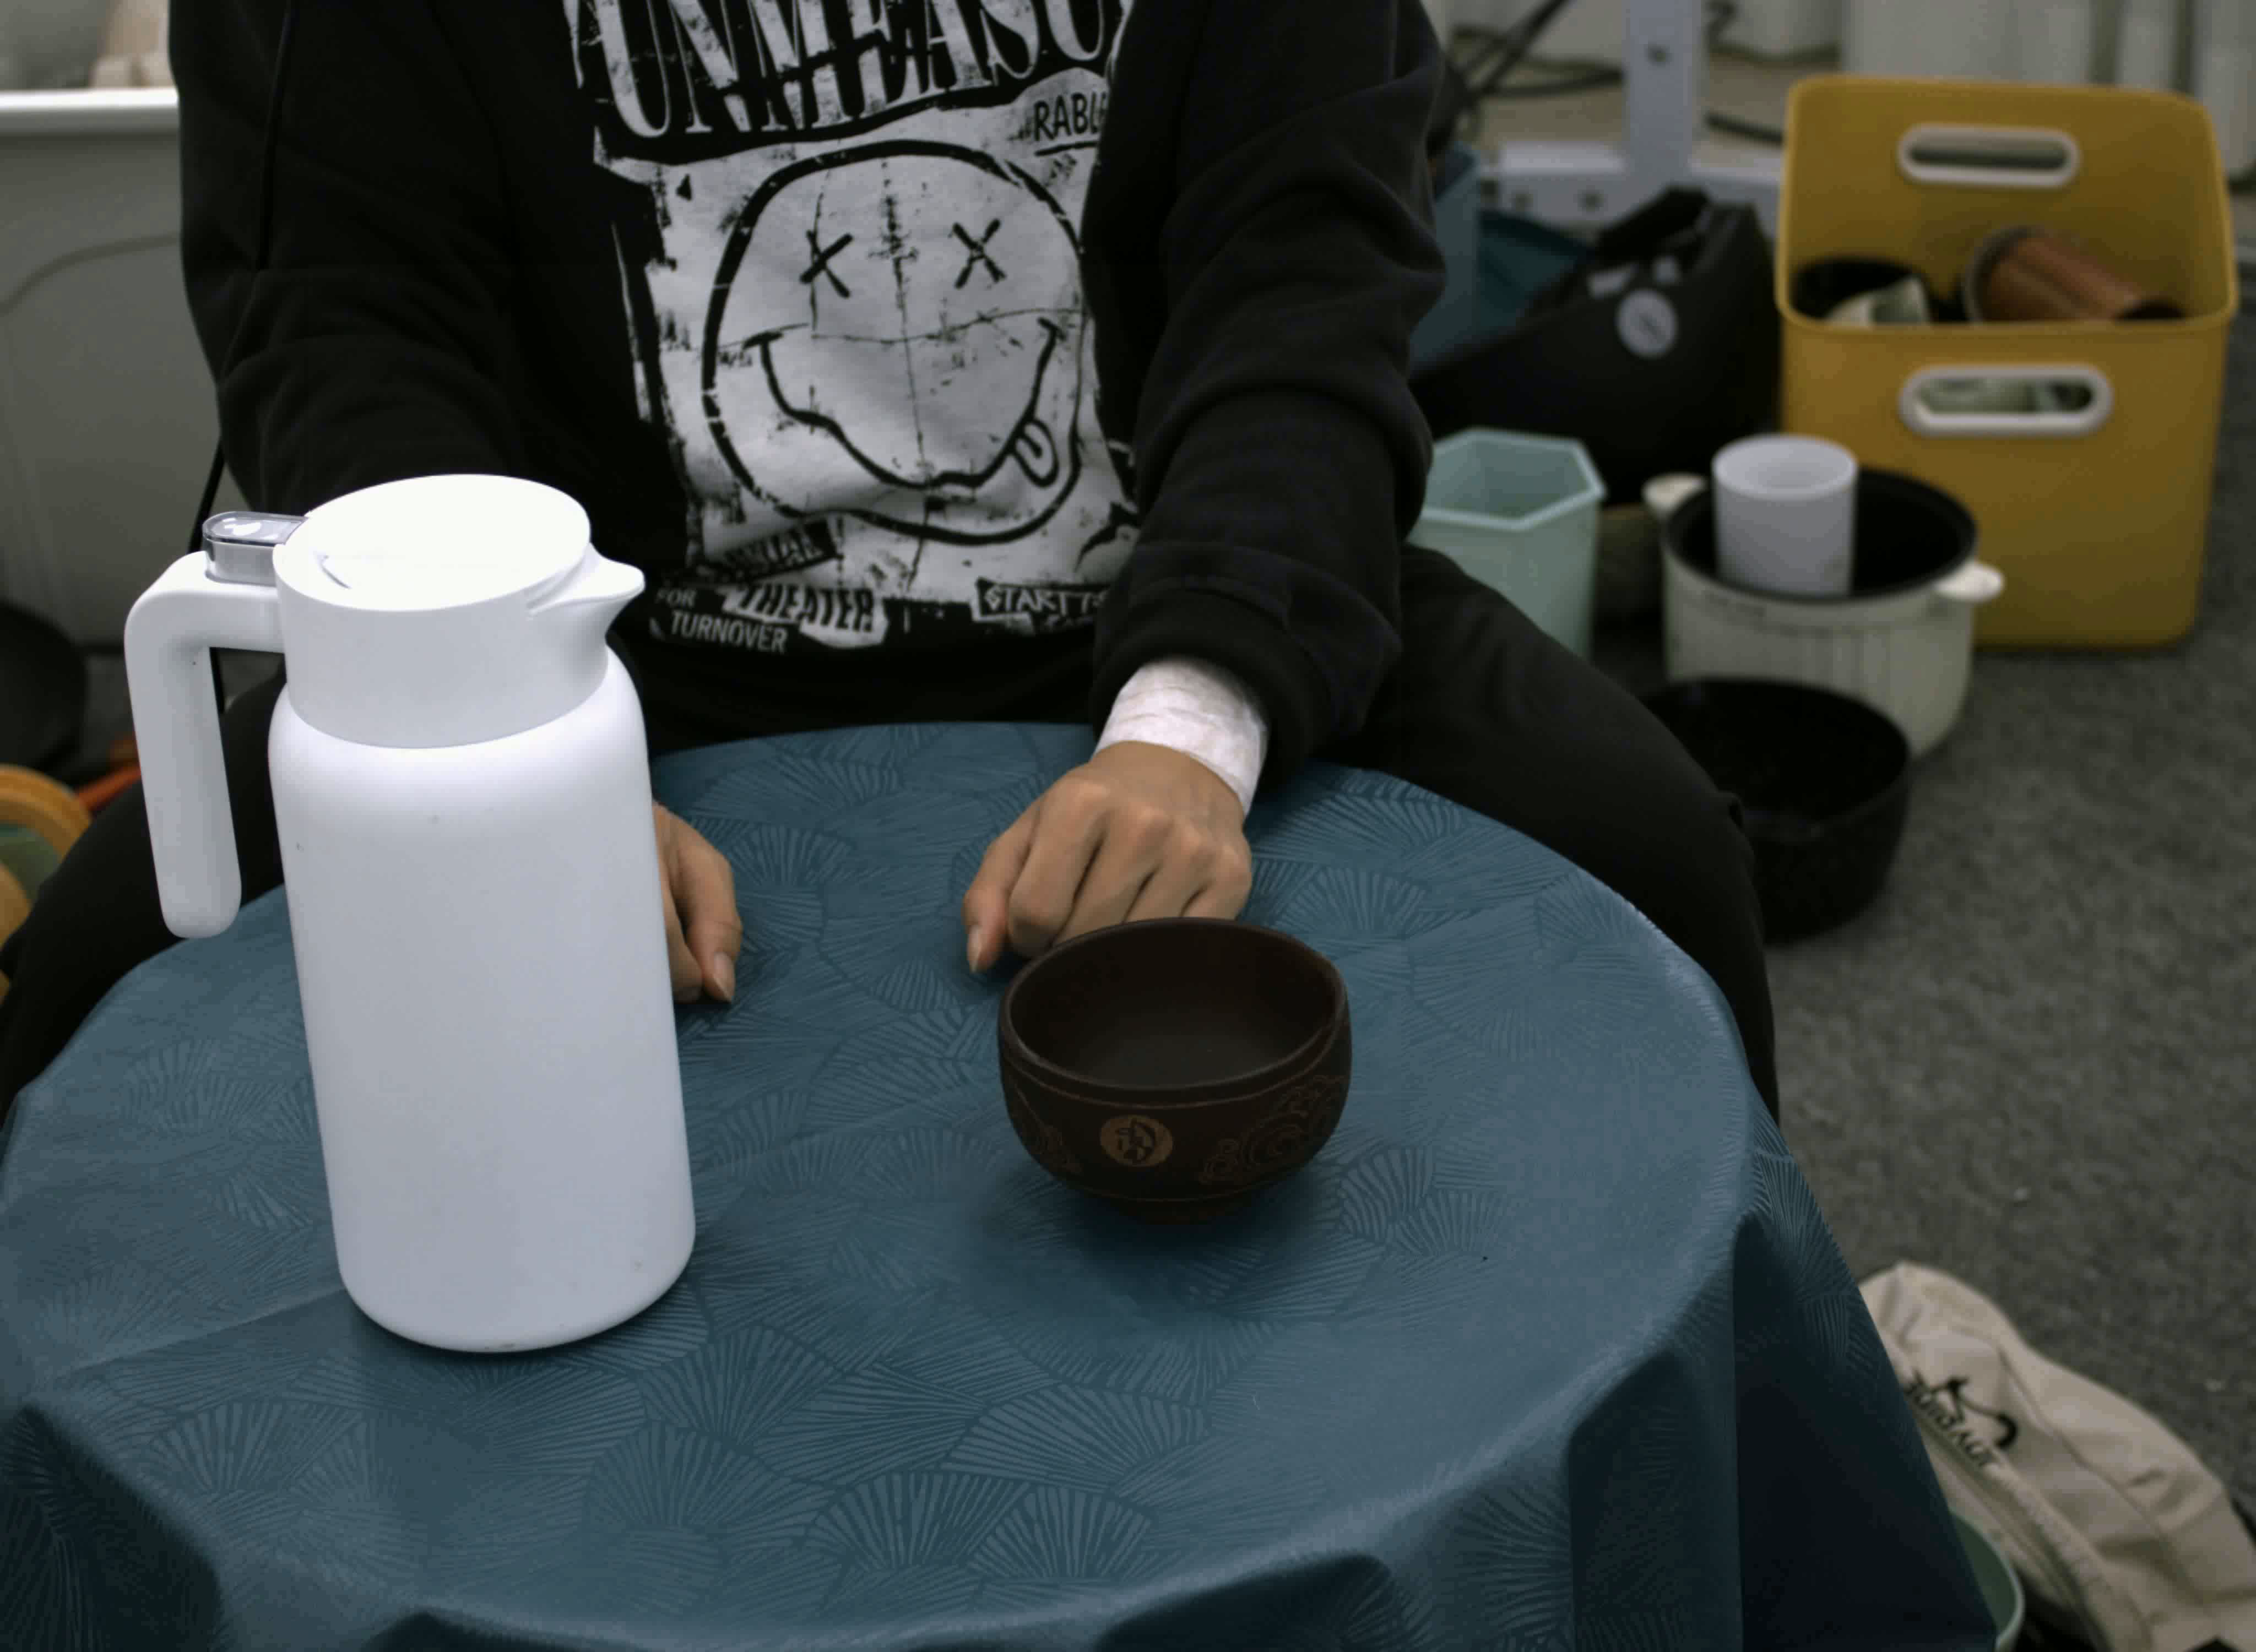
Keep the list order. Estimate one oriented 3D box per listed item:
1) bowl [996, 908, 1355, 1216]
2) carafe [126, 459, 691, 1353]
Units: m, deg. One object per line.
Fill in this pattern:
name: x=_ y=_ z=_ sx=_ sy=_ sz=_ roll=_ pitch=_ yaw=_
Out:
bowl: x=0.016 y=0.085 z=1.849 sx=0.117 sy=0.069 sz=0.120 roll=-3 pitch=26 yaw=2
carafe: x=-0.223 y=0.026 z=1.778 sx=0.171 sy=0.266 sz=0.126 roll=4 pitch=29 yaw=14
